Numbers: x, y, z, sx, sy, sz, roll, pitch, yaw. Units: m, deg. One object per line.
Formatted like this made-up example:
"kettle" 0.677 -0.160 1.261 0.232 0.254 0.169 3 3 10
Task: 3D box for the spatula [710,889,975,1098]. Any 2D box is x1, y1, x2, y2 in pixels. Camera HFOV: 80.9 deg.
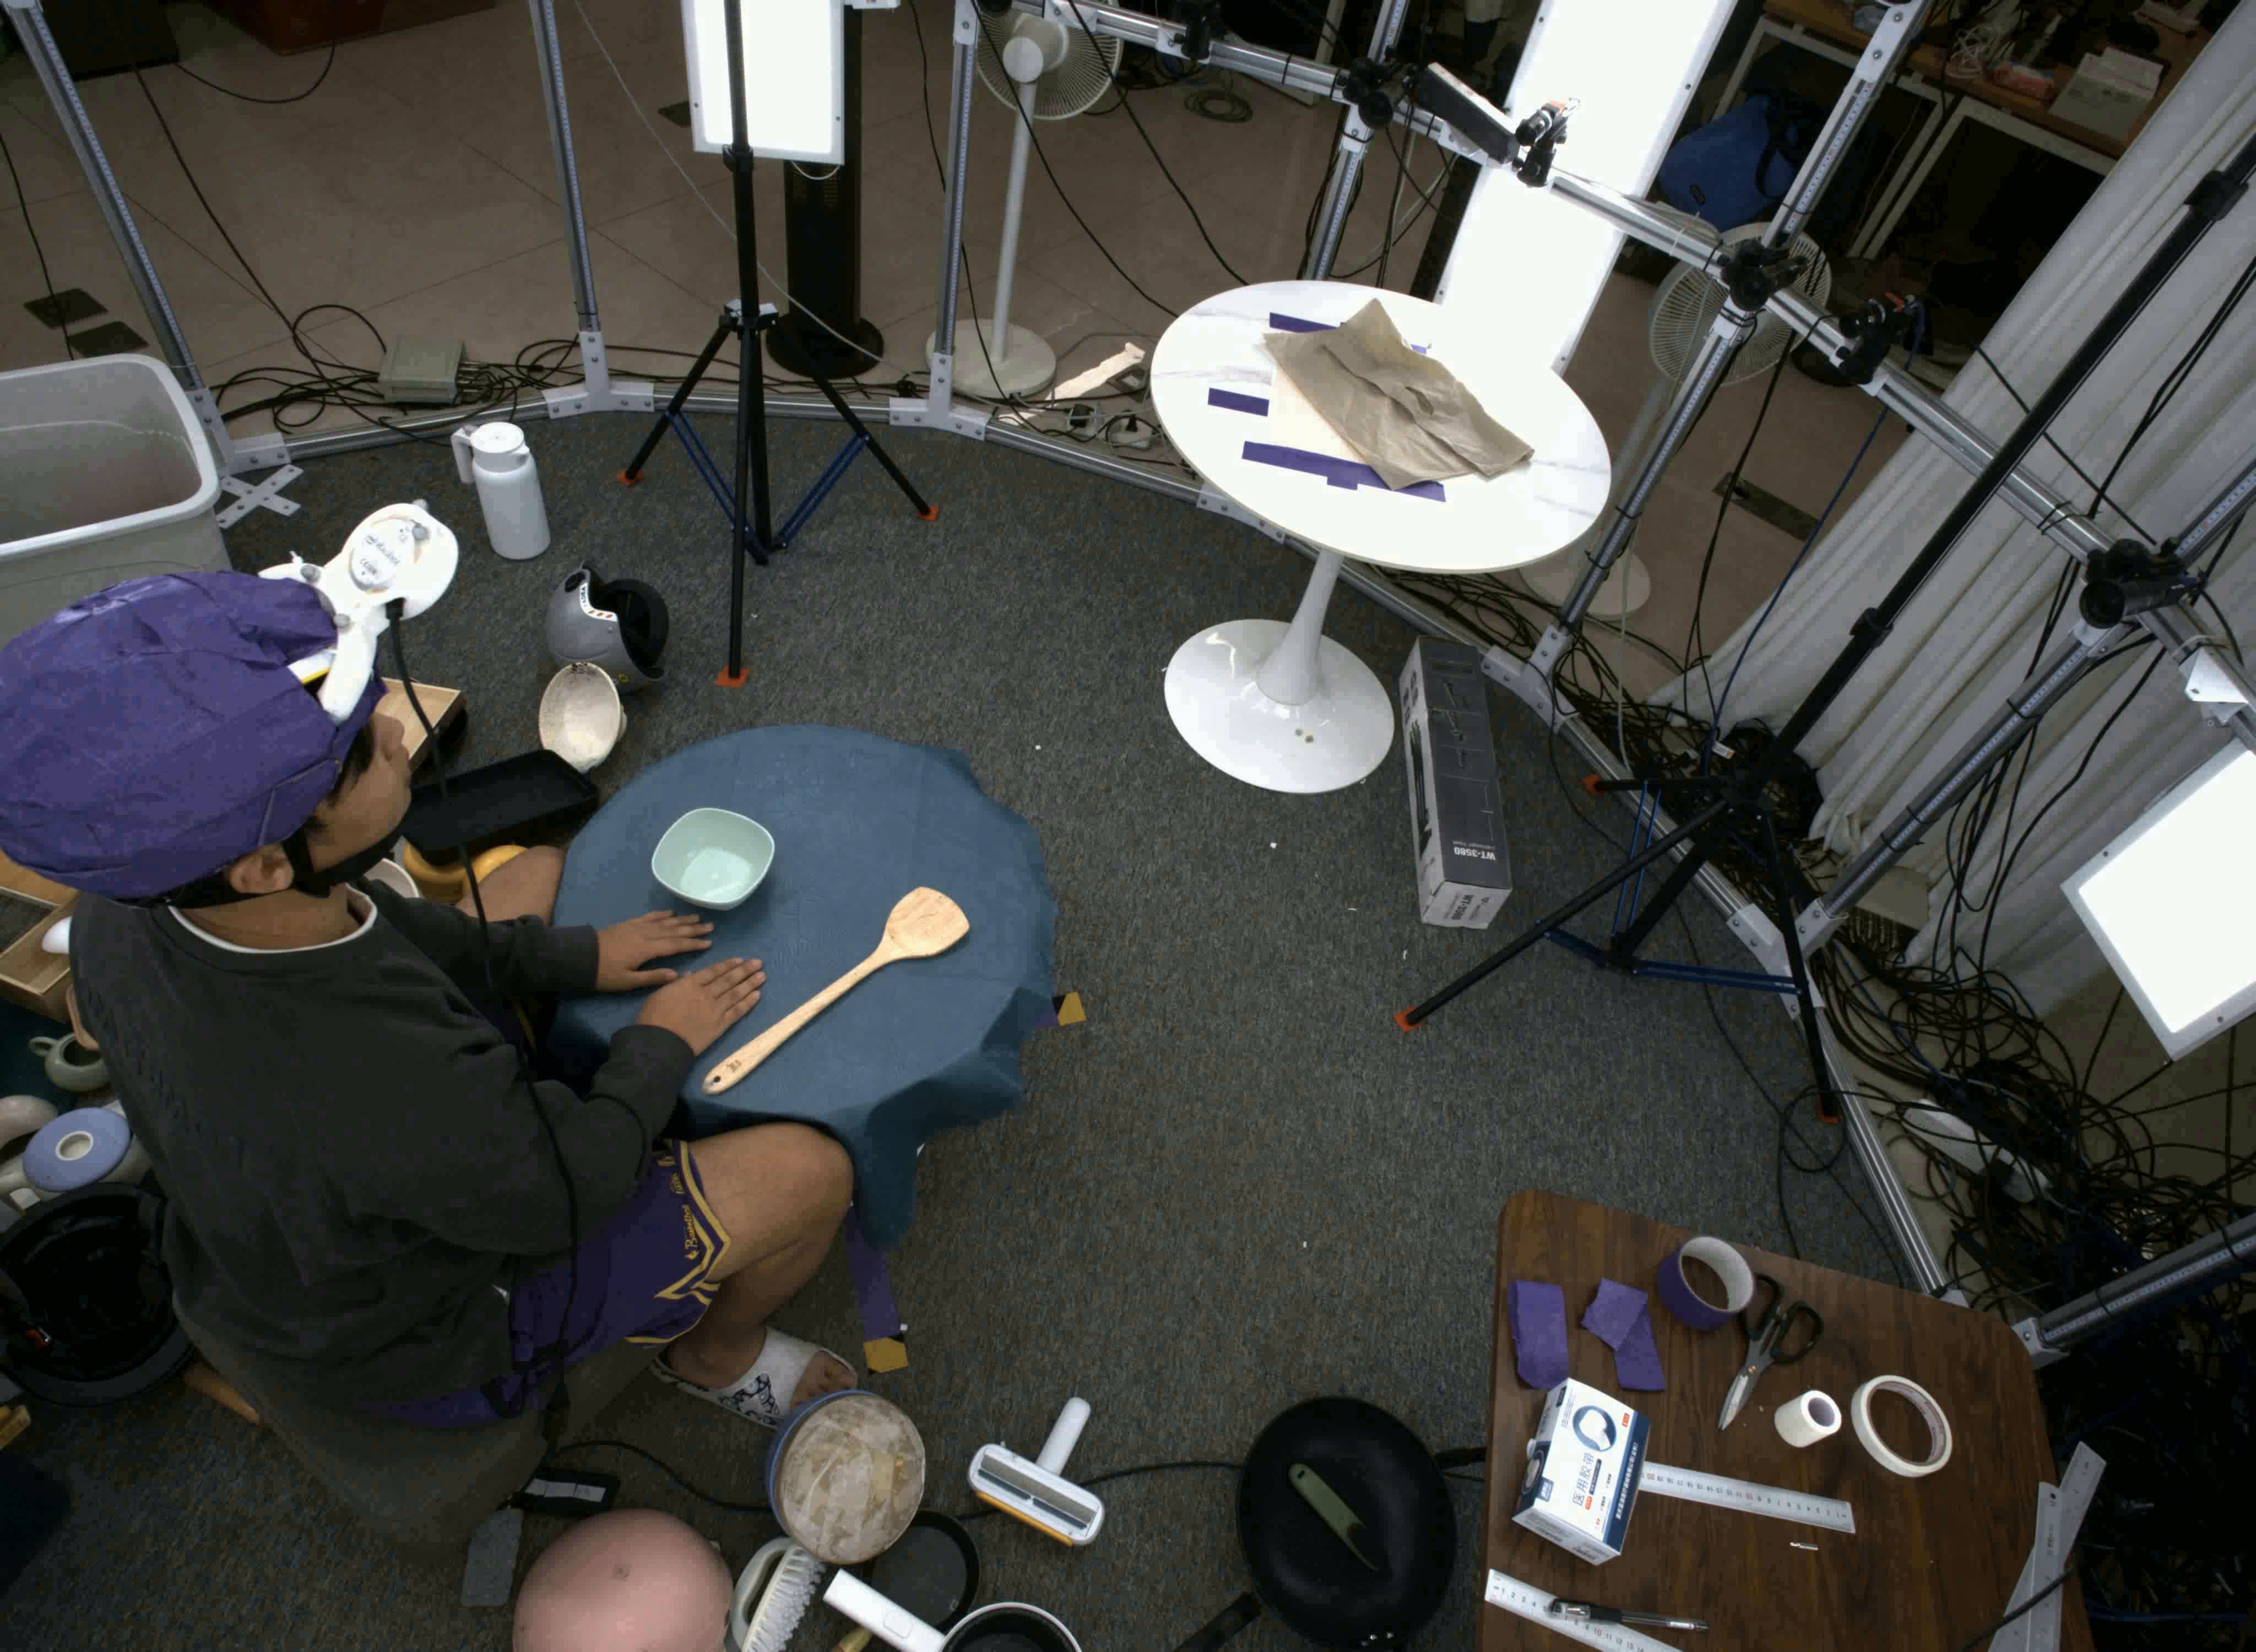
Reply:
"spatula" -0.347 0.204 1.585 0.093 0.019 0.391 39 54 18

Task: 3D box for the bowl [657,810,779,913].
"bowl" -0.515 0.053 1.631 0.151 0.060 0.148 8 51 -8
